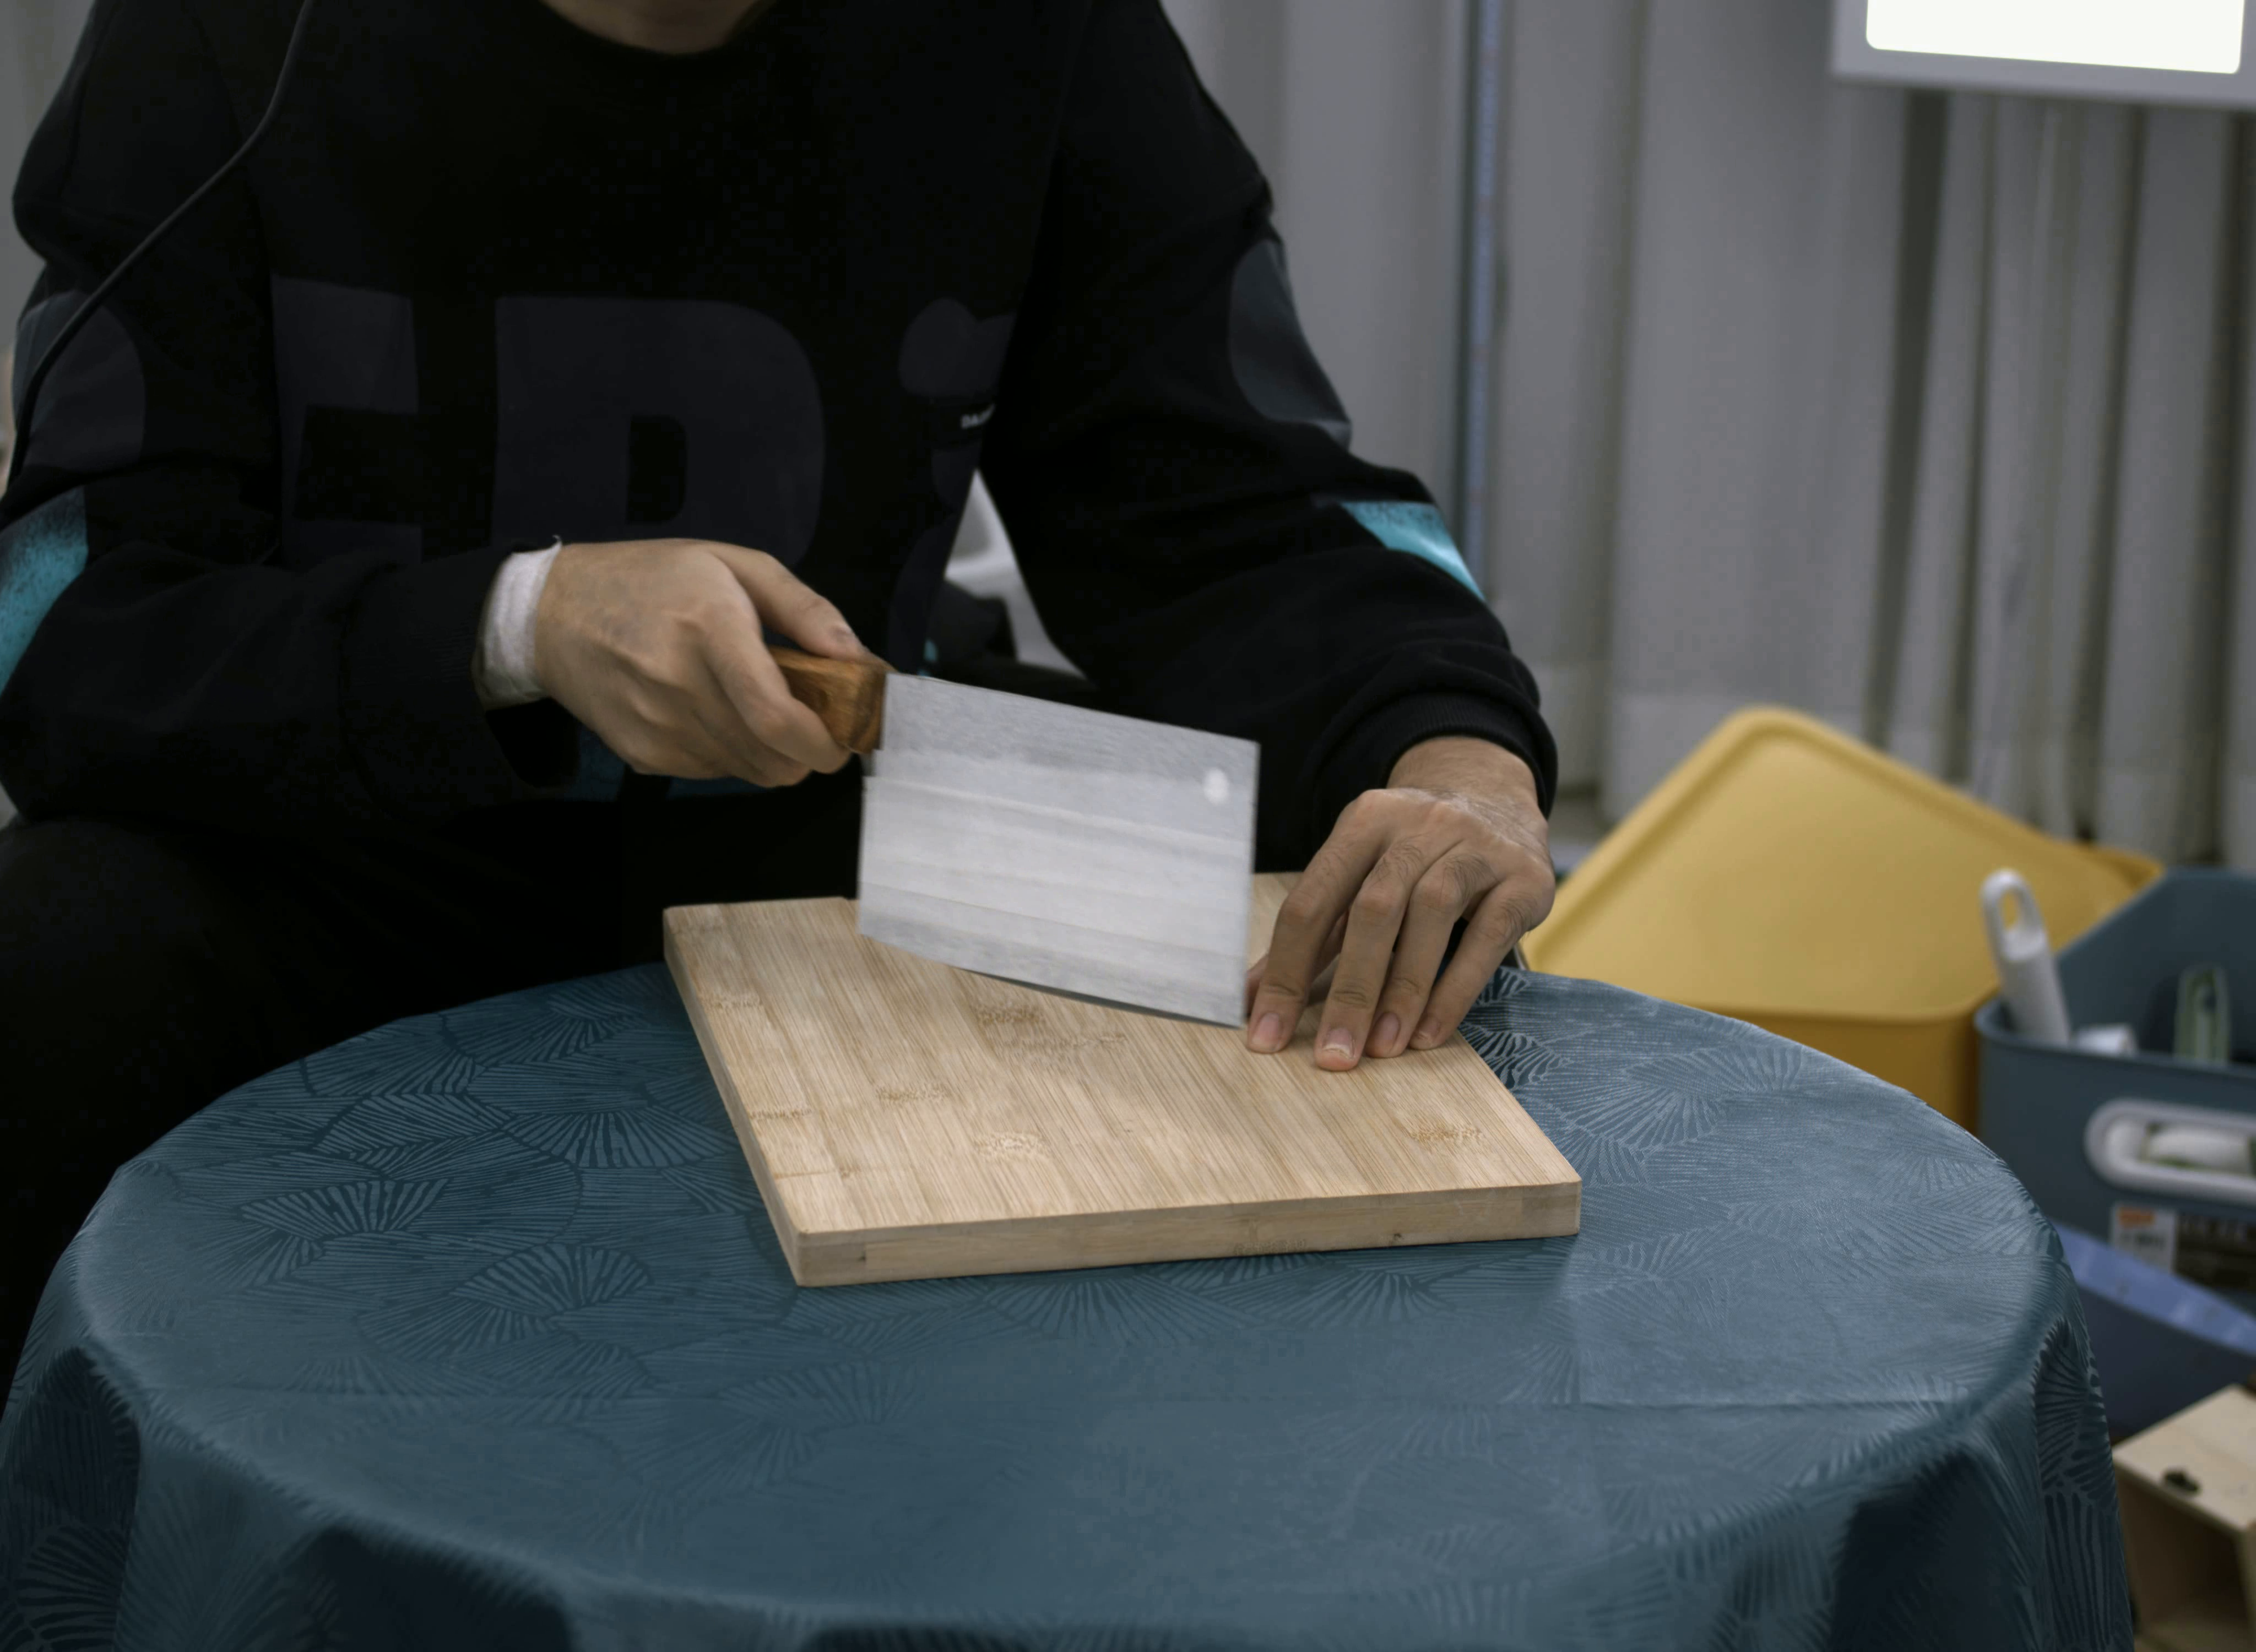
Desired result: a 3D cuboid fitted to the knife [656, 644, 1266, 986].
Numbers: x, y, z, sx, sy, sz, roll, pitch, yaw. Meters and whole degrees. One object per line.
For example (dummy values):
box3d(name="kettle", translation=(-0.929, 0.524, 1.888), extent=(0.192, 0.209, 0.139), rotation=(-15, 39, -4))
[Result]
box3d(name="knife", translation=(-0.059, -0.004, 1.696), extent=(0.021, 0.093, 0.302), rotation=(-7, 13, -41))

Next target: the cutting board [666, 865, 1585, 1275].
box3d(name="cutting board", translation=(-0.012, 0.075, 1.724), extent=(0.251, 0.024, 0.345), rotation=(-3, 16, -12))
